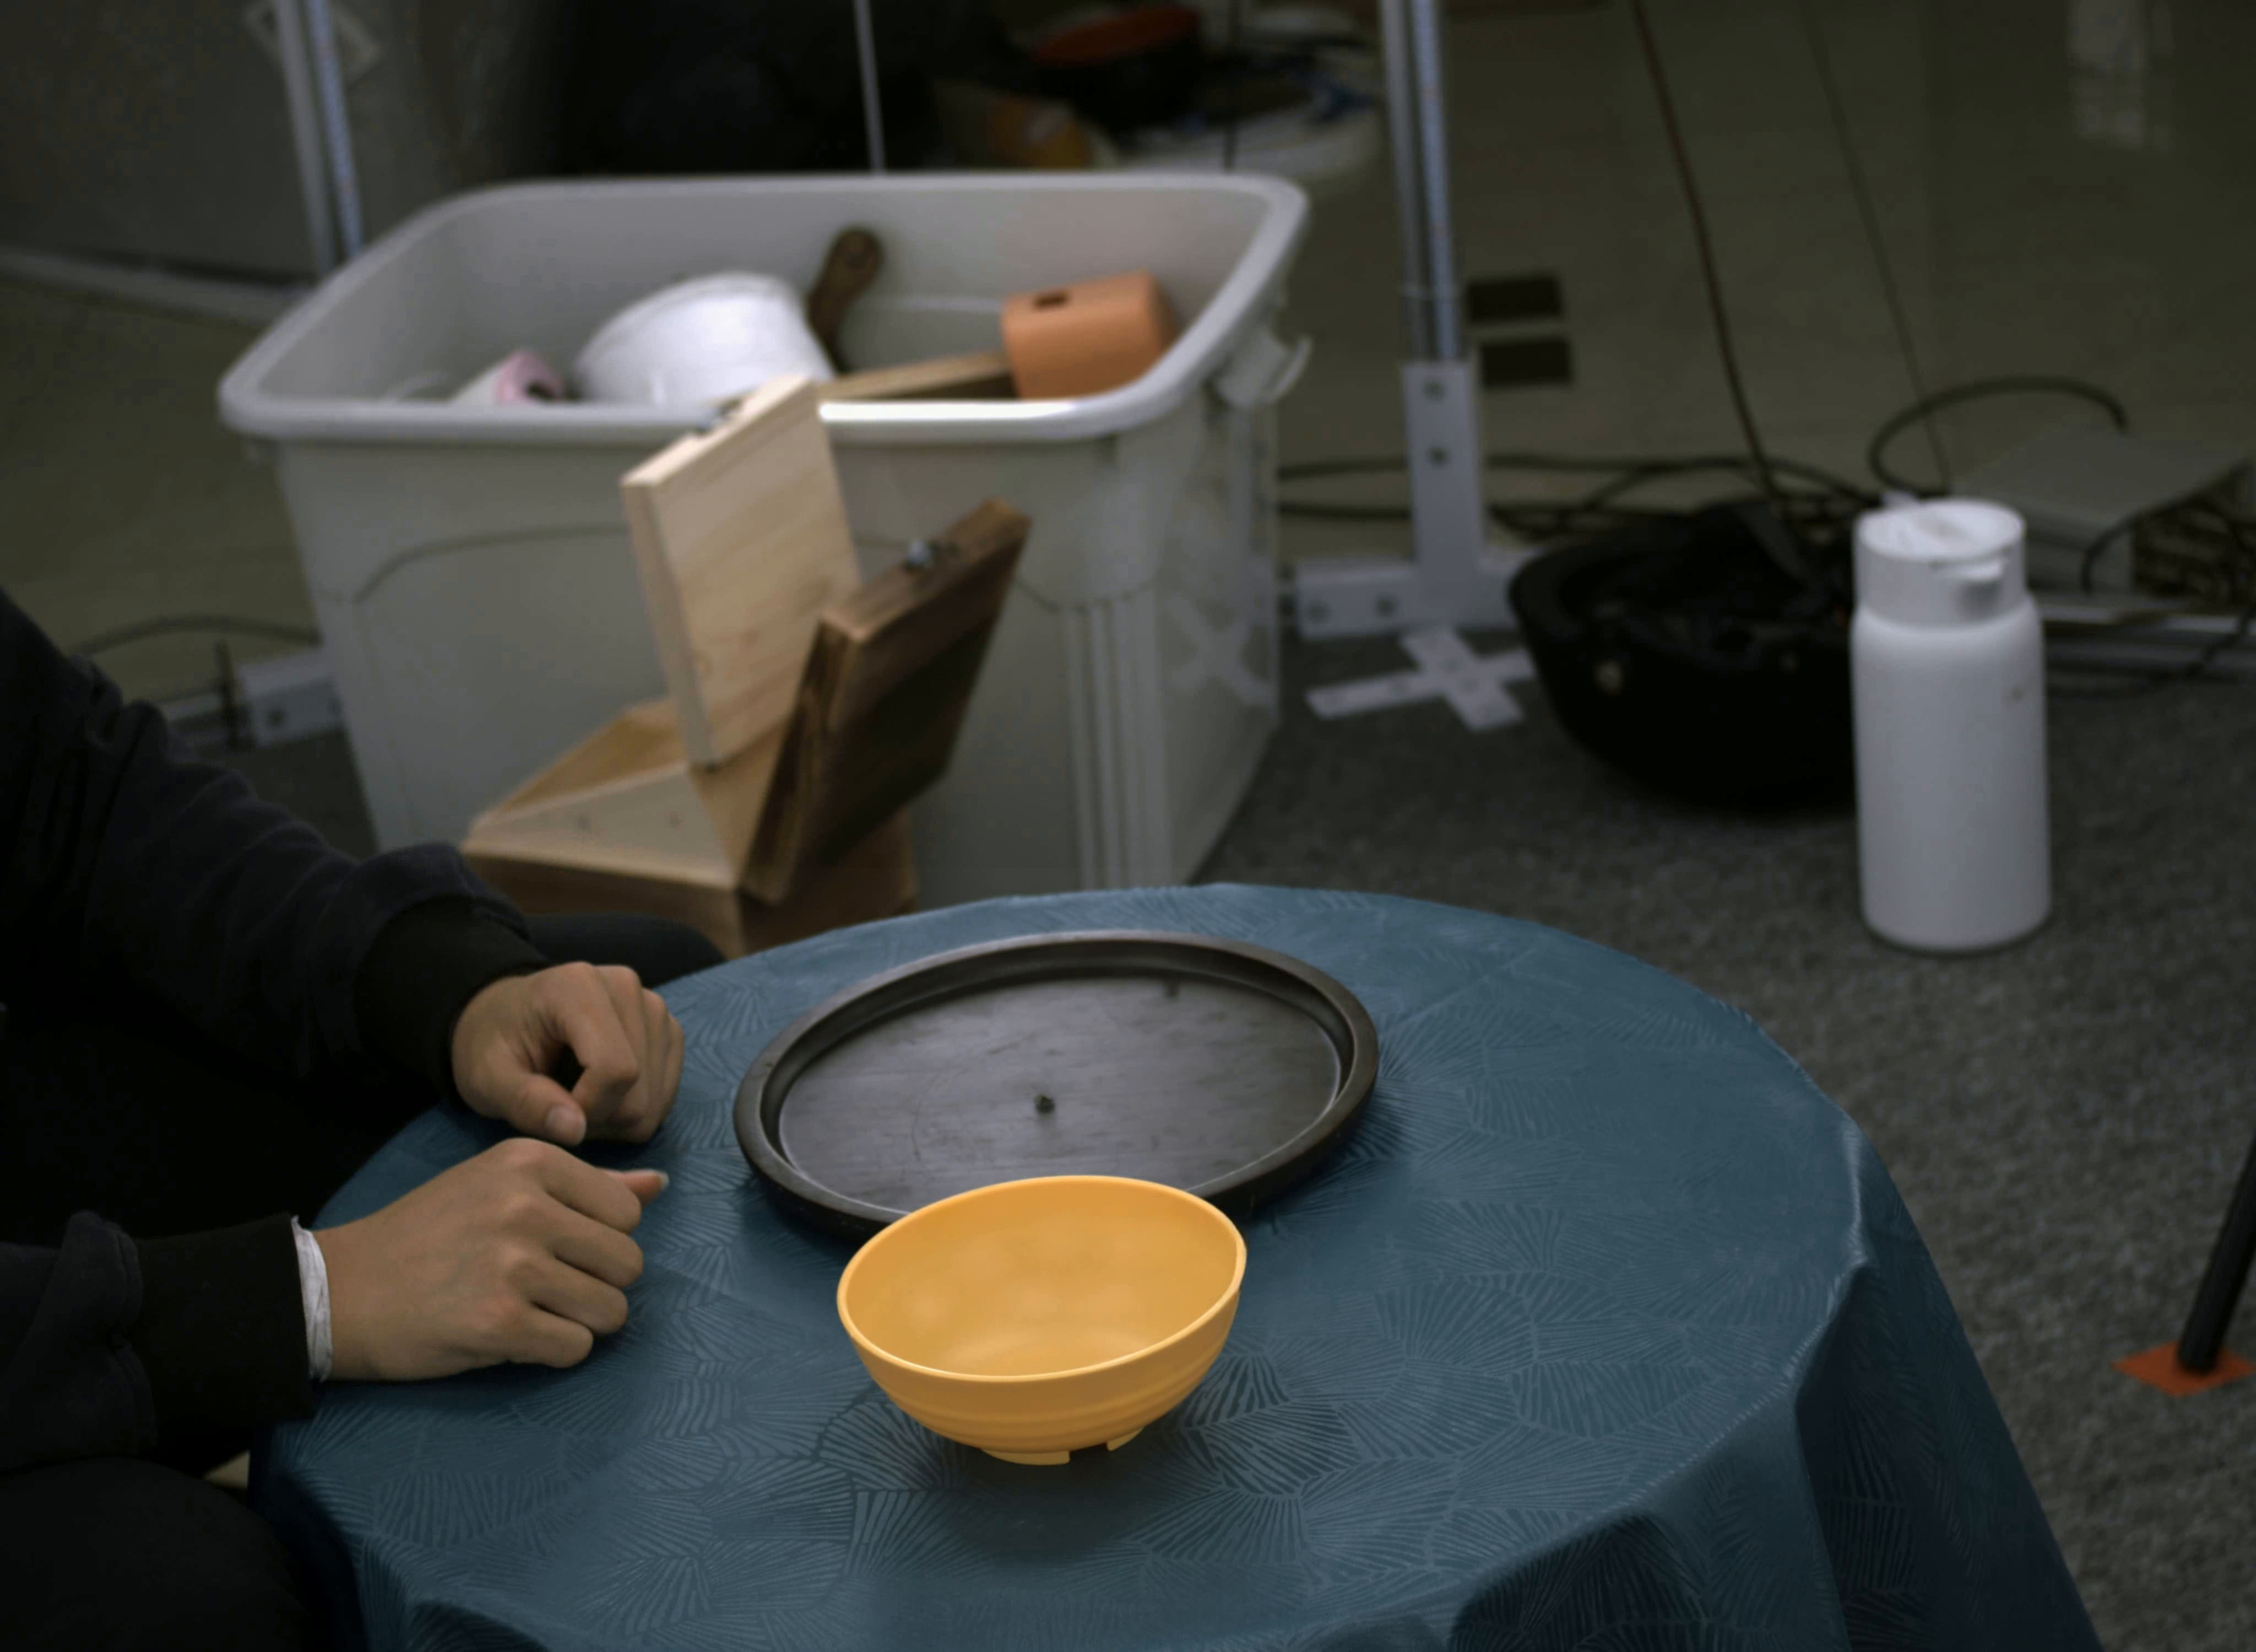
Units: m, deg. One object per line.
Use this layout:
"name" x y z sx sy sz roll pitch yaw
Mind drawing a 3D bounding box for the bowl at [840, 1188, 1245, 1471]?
"bowl" -0.026 0.185 1.995 0.145 0.061 0.143 -7 23 3

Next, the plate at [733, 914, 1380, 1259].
"plate" -0.027 0.105 2.205 0.254 0.029 0.251 -6 26 3
